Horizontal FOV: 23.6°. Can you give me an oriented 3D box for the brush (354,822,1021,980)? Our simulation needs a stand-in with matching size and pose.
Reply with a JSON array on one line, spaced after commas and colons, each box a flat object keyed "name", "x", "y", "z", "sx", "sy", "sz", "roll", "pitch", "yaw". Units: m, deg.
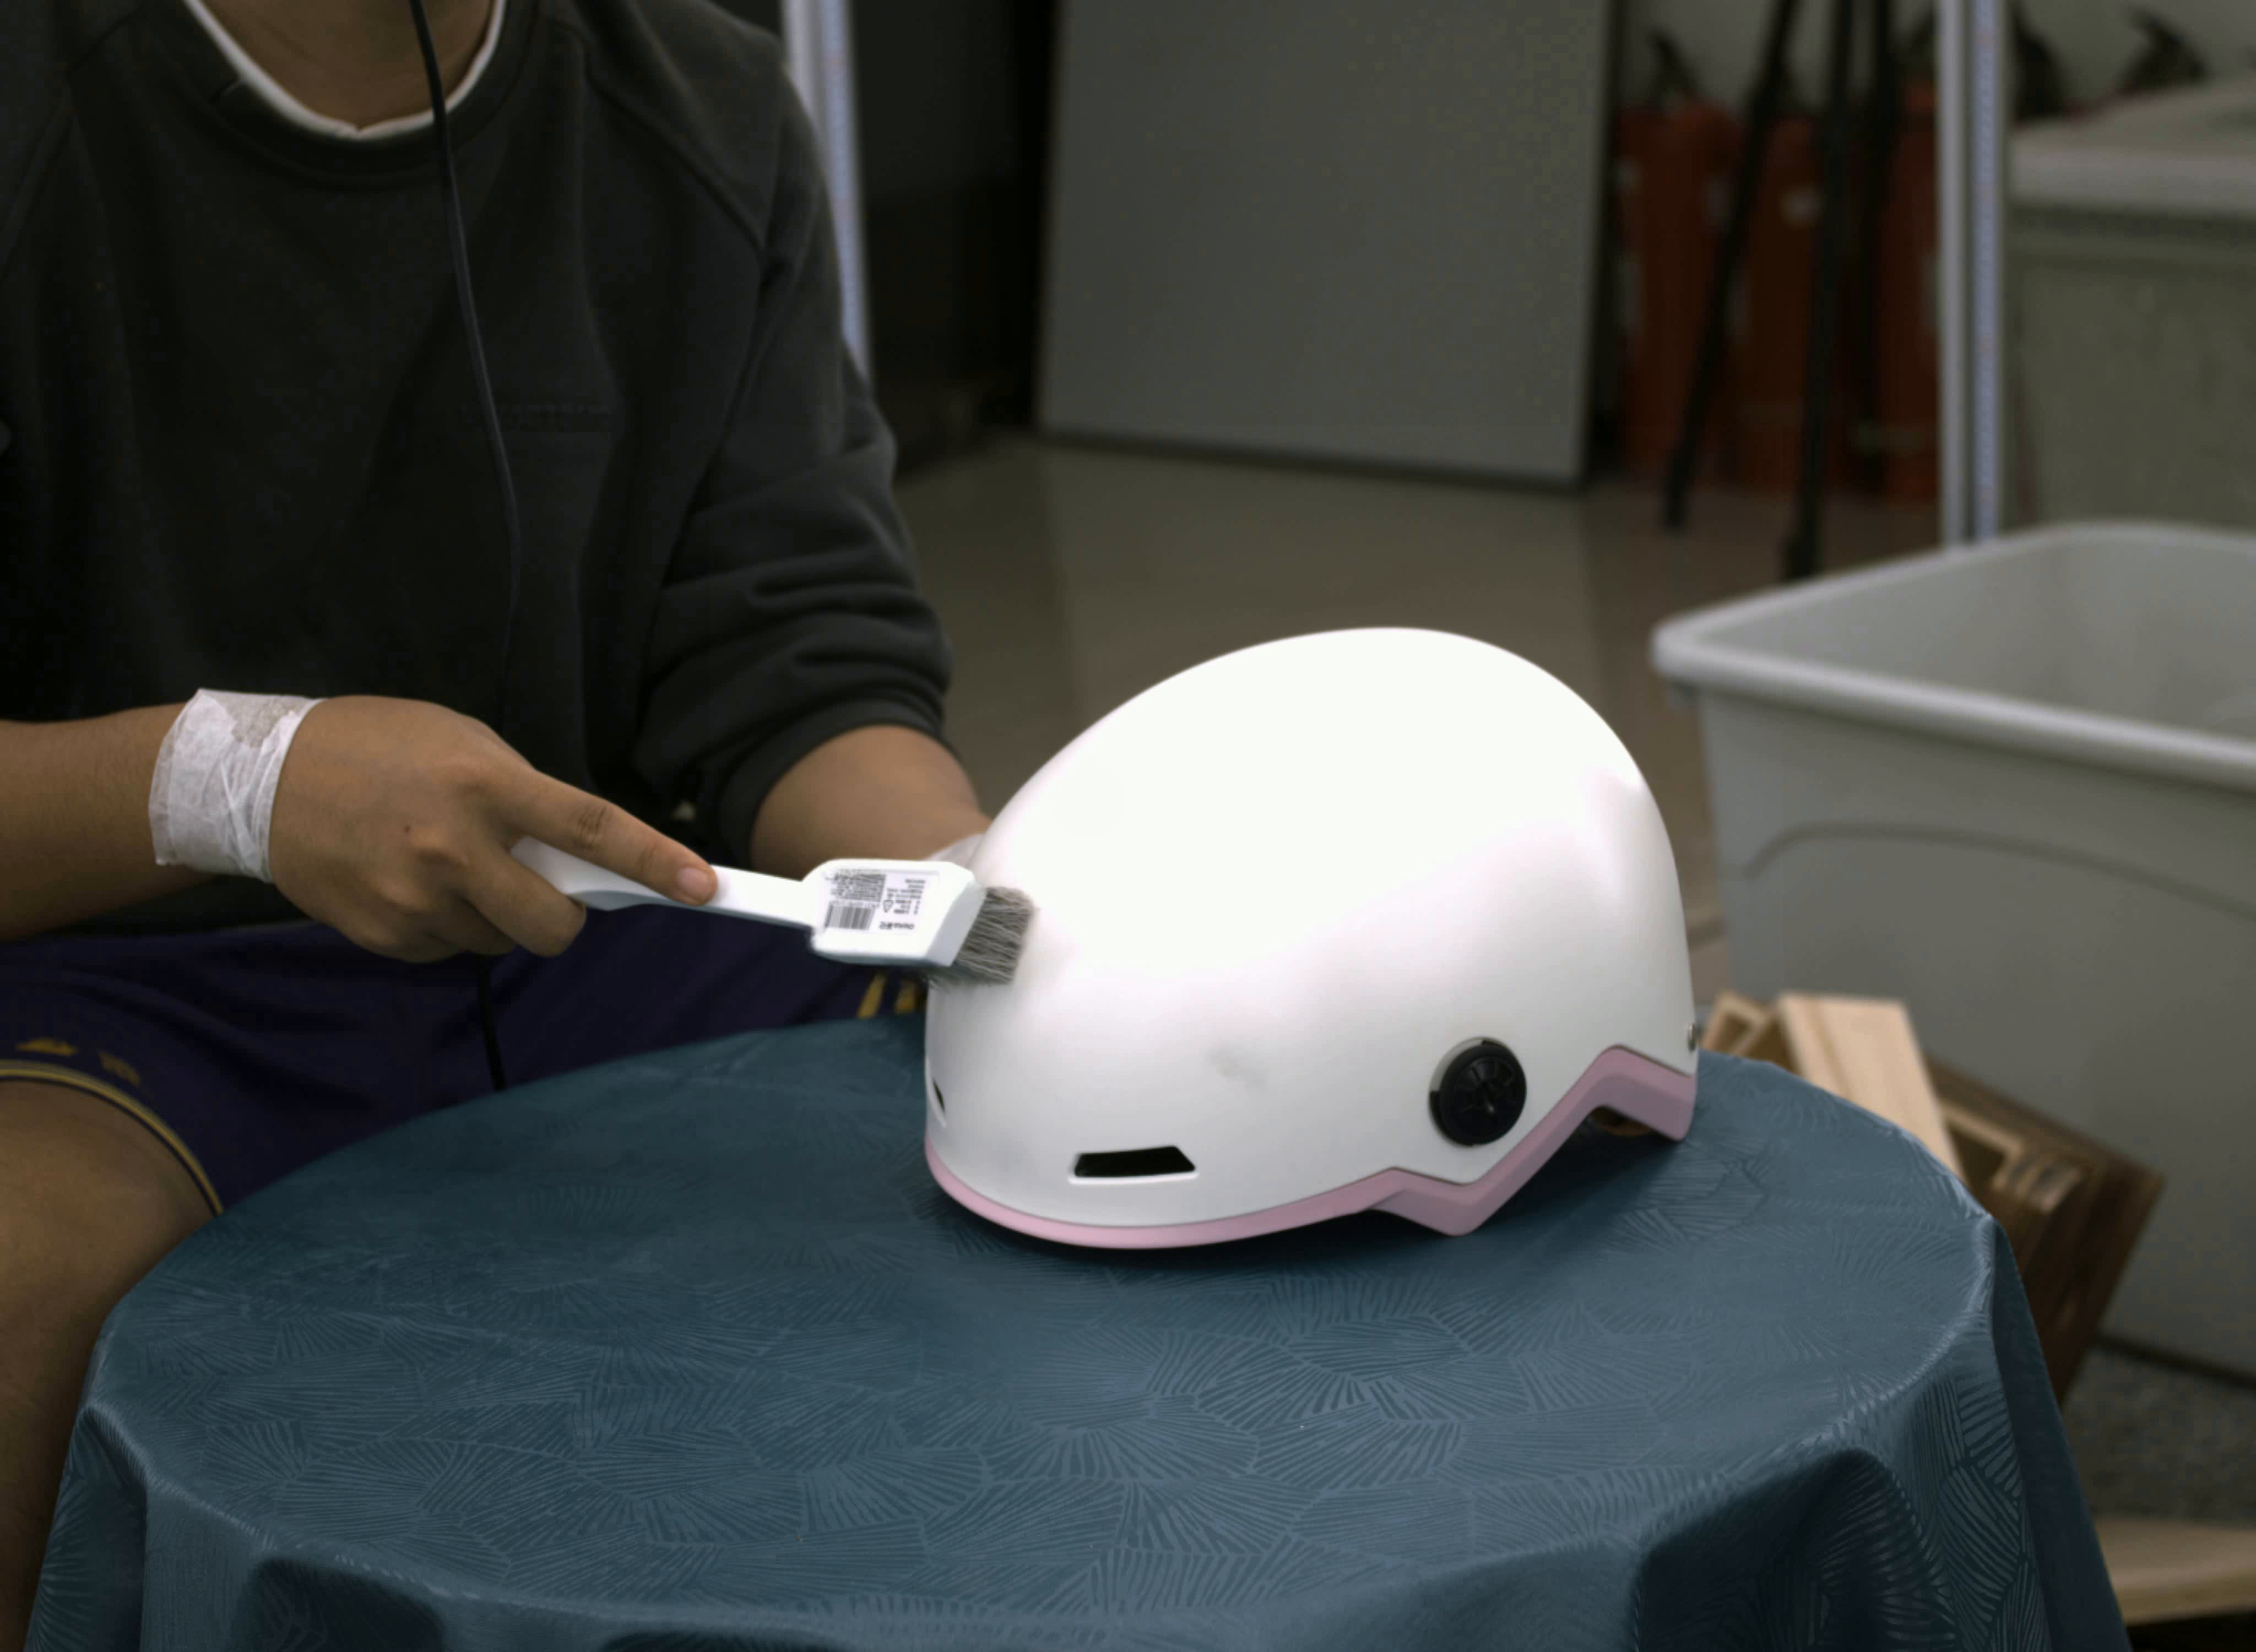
[{"name": "brush", "x": -0.144, "y": 0.023, "z": 1.758, "sx": 0.244, "sy": 0.035, "sz": 0.049, "roll": 4, "pitch": -16, "yaw": 30}]

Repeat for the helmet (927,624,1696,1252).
[{"name": "helmet", "x": 0.060, "y": 0.025, "z": 1.773, "sx": 0.263, "sy": 0.169, "sz": 0.239, "roll": -13, "pitch": 20, "yaw": -34}]
